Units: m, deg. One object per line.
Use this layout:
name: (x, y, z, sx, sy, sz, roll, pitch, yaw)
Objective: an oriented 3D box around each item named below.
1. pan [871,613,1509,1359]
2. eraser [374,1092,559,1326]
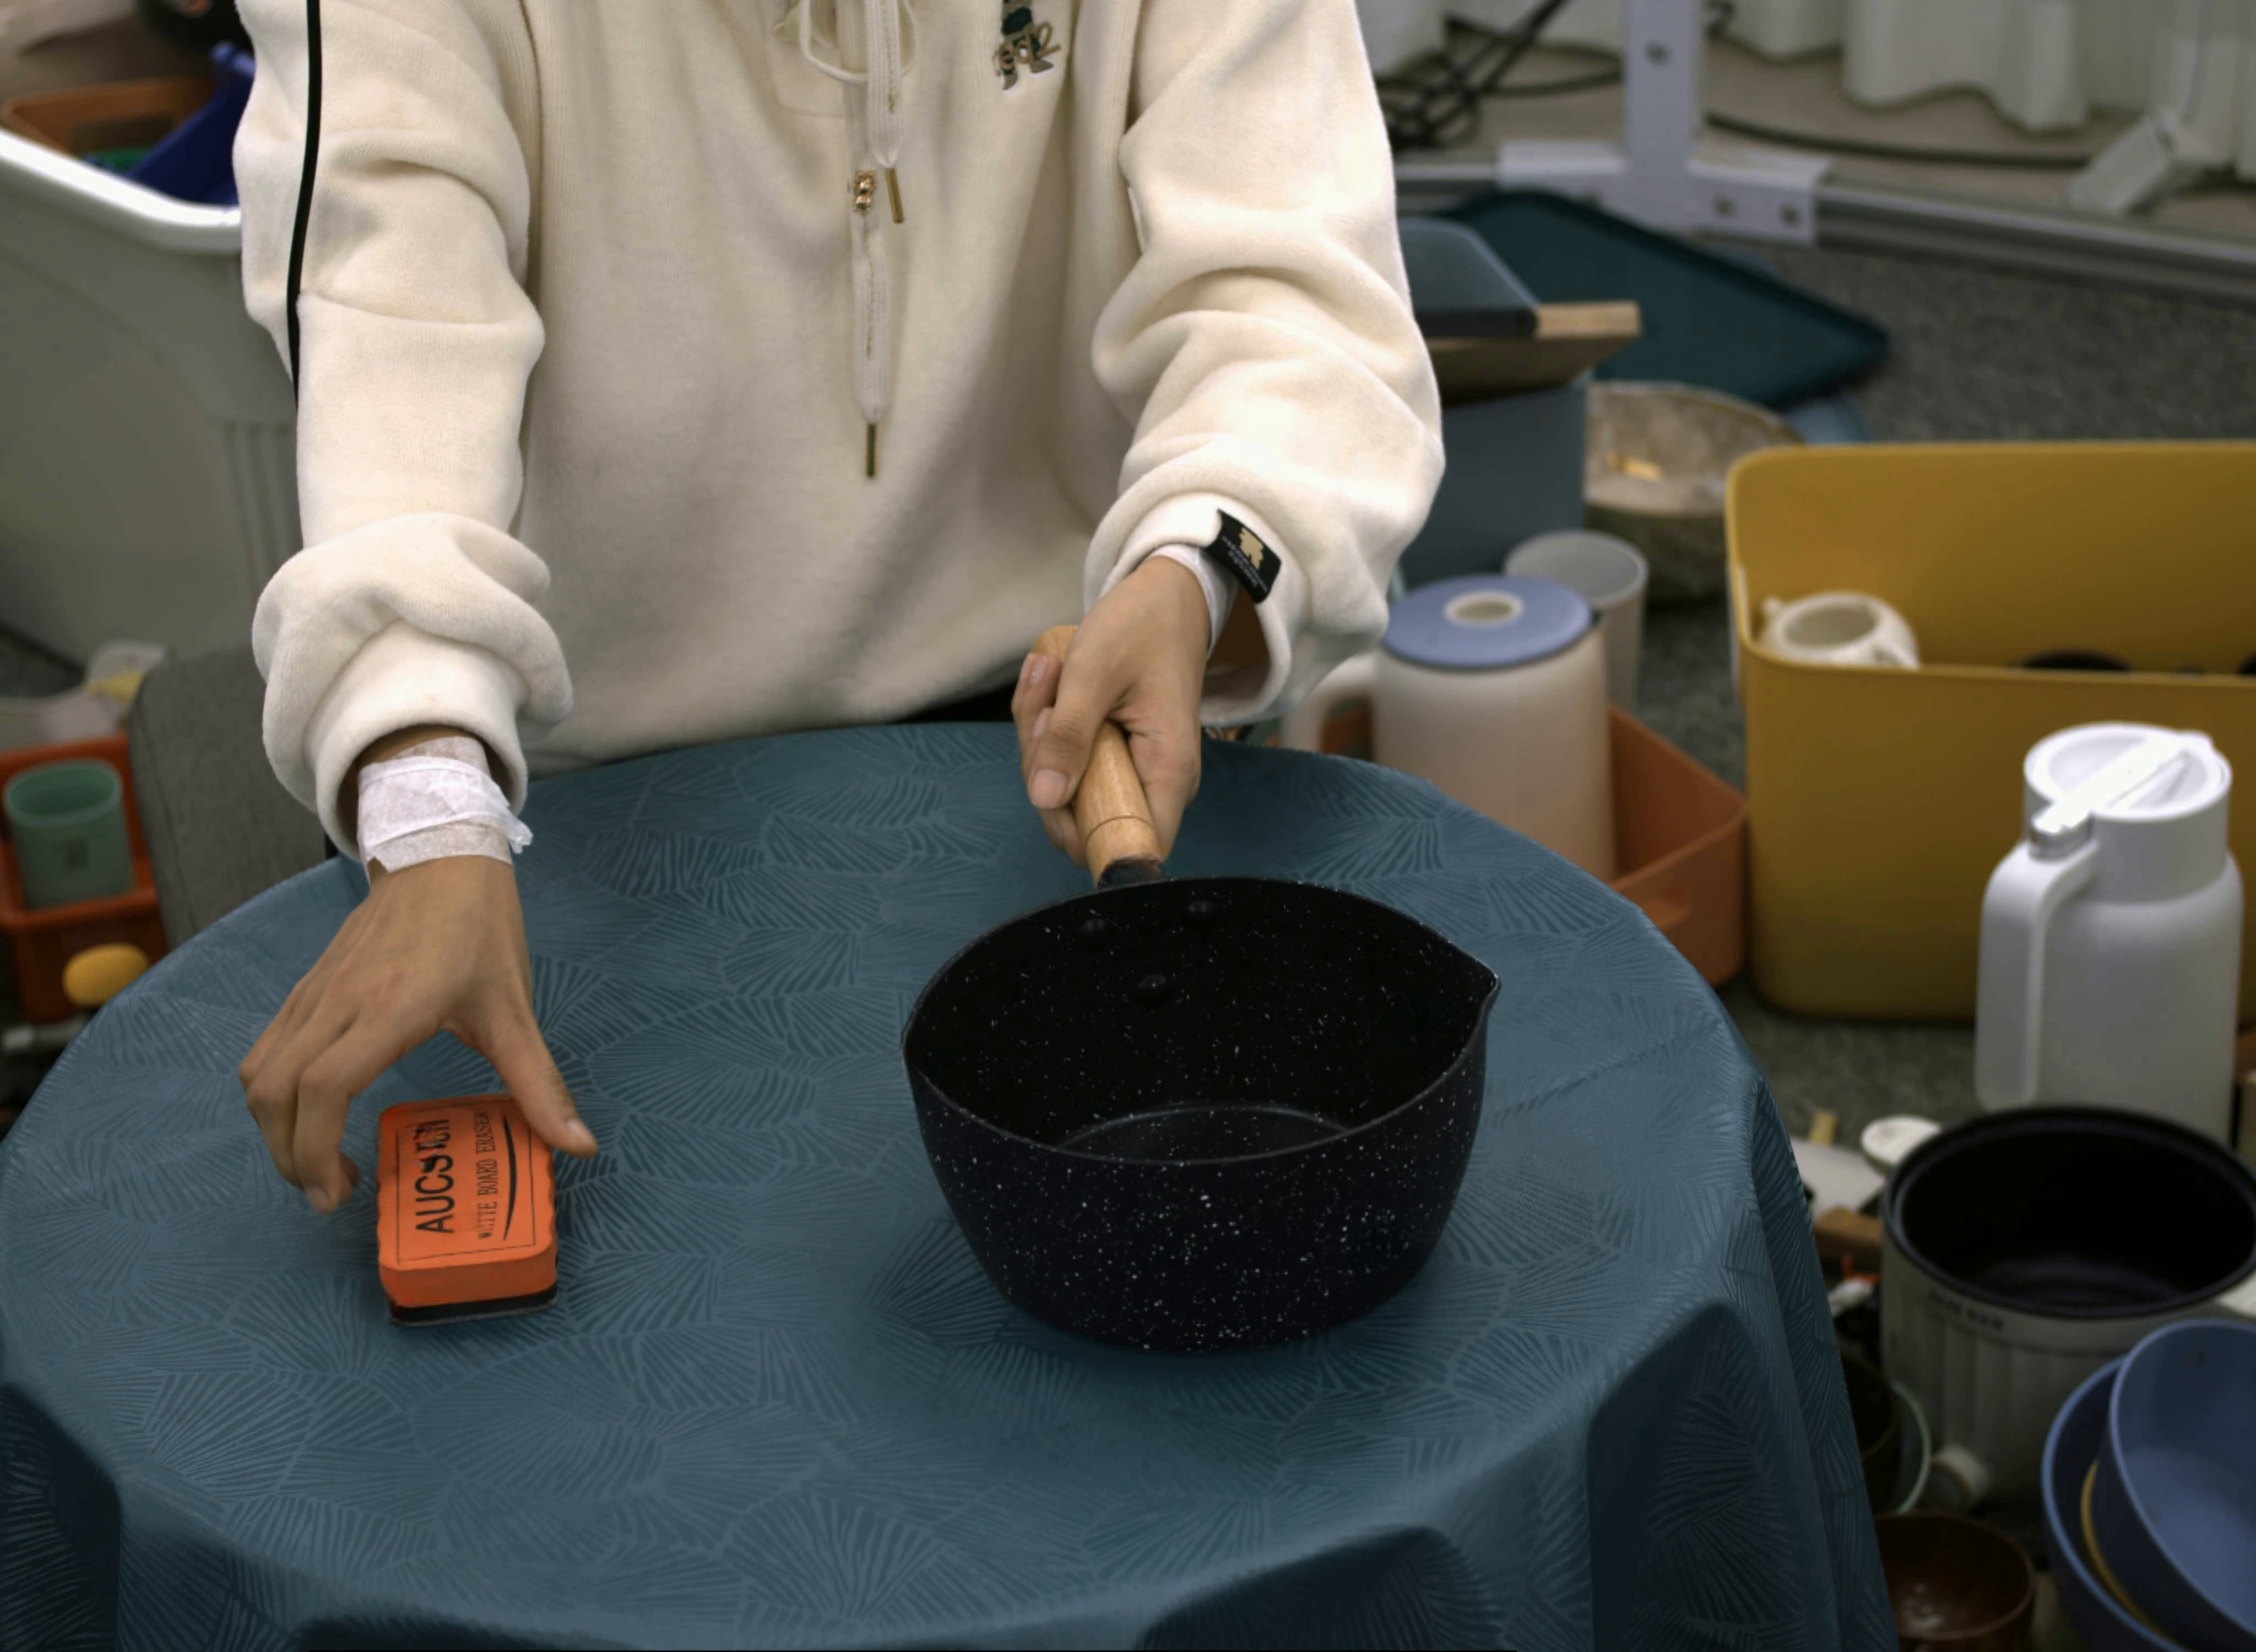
pan: (0.008, 0.050, 1.883, 0.207, 0.107, 0.347, -9, 29, -9)
eraser: (-0.218, 0.126, 1.850, 0.059, 0.022, 0.109, -6, 27, -3)
